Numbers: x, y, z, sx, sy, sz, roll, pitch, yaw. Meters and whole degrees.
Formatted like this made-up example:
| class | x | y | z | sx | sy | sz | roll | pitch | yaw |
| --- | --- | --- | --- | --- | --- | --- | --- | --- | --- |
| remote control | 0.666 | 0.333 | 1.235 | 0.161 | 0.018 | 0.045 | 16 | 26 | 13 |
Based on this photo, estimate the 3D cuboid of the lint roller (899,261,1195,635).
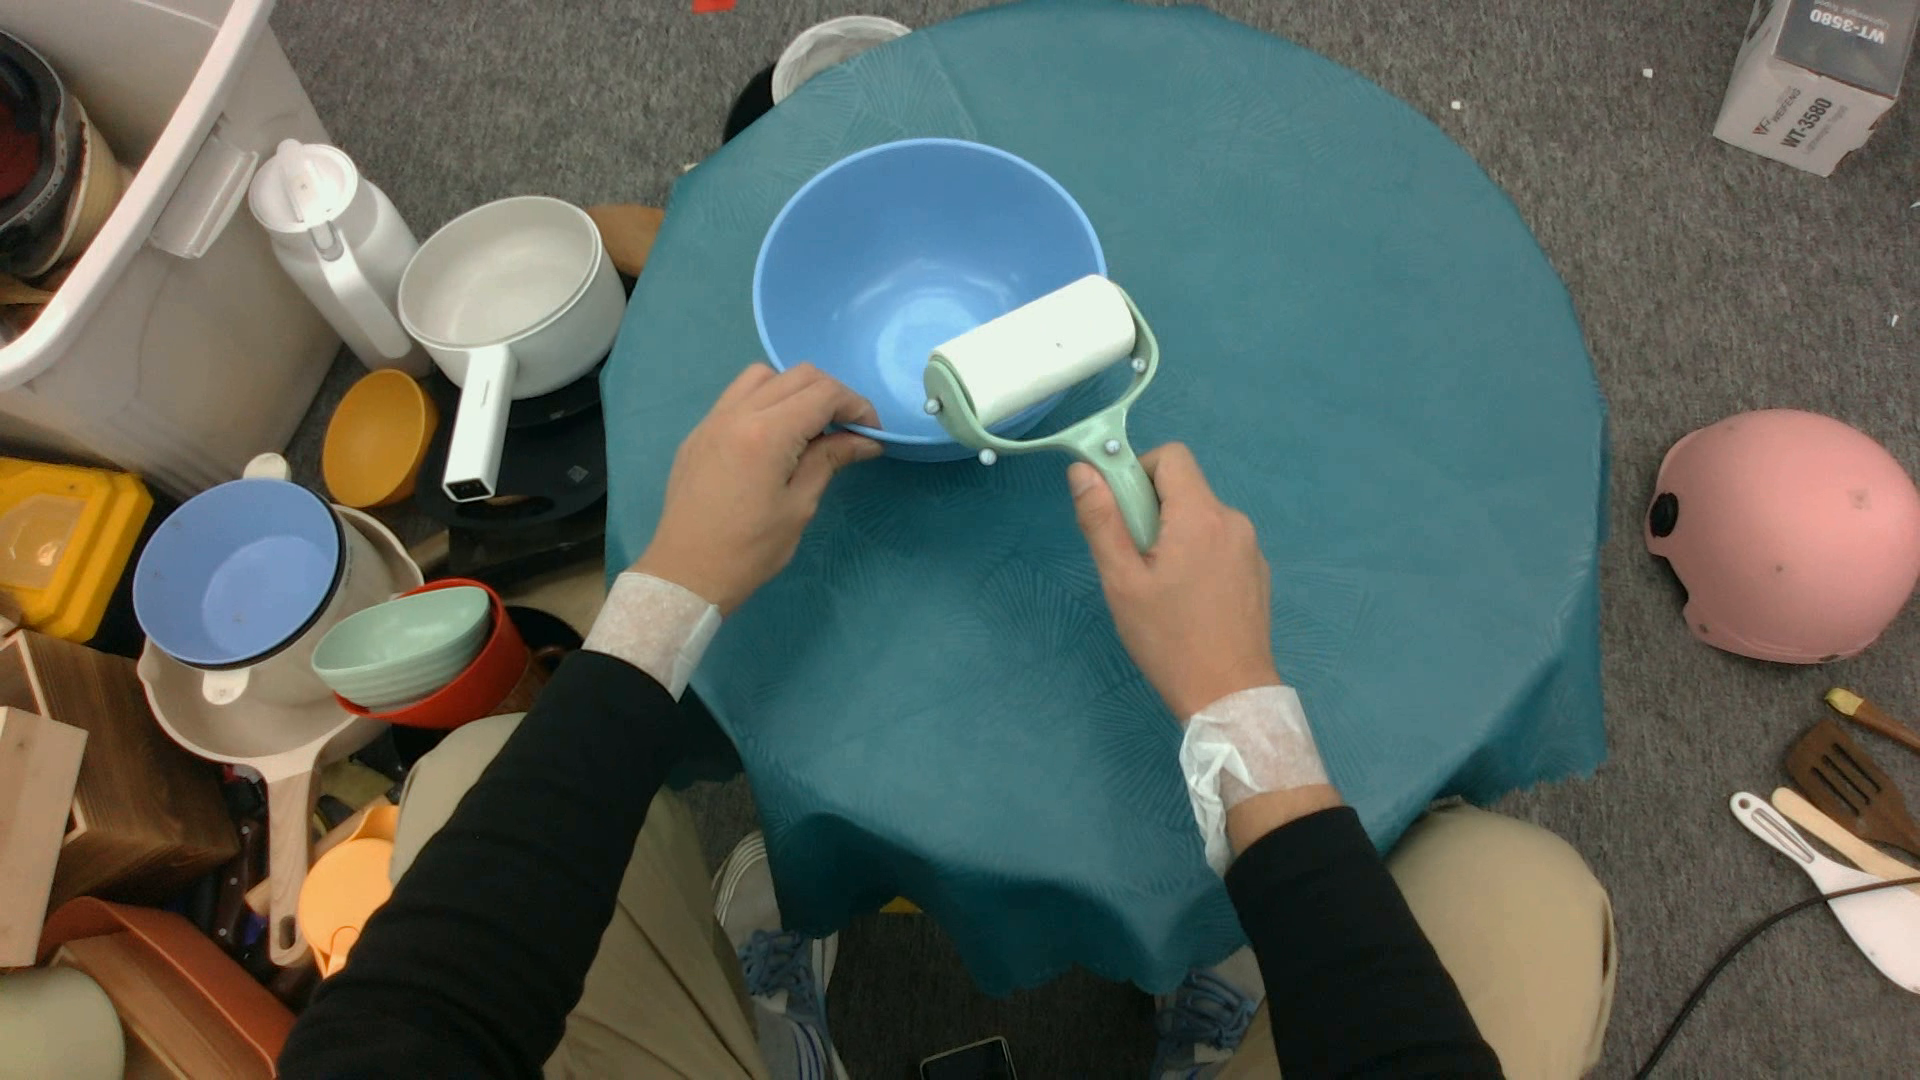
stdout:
| class | x | y | z | sx | sy | sz | roll | pitch | yaw |
| --- | --- | --- | --- | --- | --- | --- | --- | --- | --- |
| lint roller | 0.063 | -0.038 | 0.698 | 0.117 | 0.048 | 0.197 | -30 | 84 | -20 |

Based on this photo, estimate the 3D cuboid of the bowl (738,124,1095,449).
| class | x | y | z | sx | sy | sz | roll | pitch | yaw |
| --- | --- | --- | --- | --- | --- | --- | --- | --- | --- |
| bowl | -0.024 | -0.132 | 0.799 | 0.196 | 0.095 | 0.197 | 0 | 68 | -1 |
